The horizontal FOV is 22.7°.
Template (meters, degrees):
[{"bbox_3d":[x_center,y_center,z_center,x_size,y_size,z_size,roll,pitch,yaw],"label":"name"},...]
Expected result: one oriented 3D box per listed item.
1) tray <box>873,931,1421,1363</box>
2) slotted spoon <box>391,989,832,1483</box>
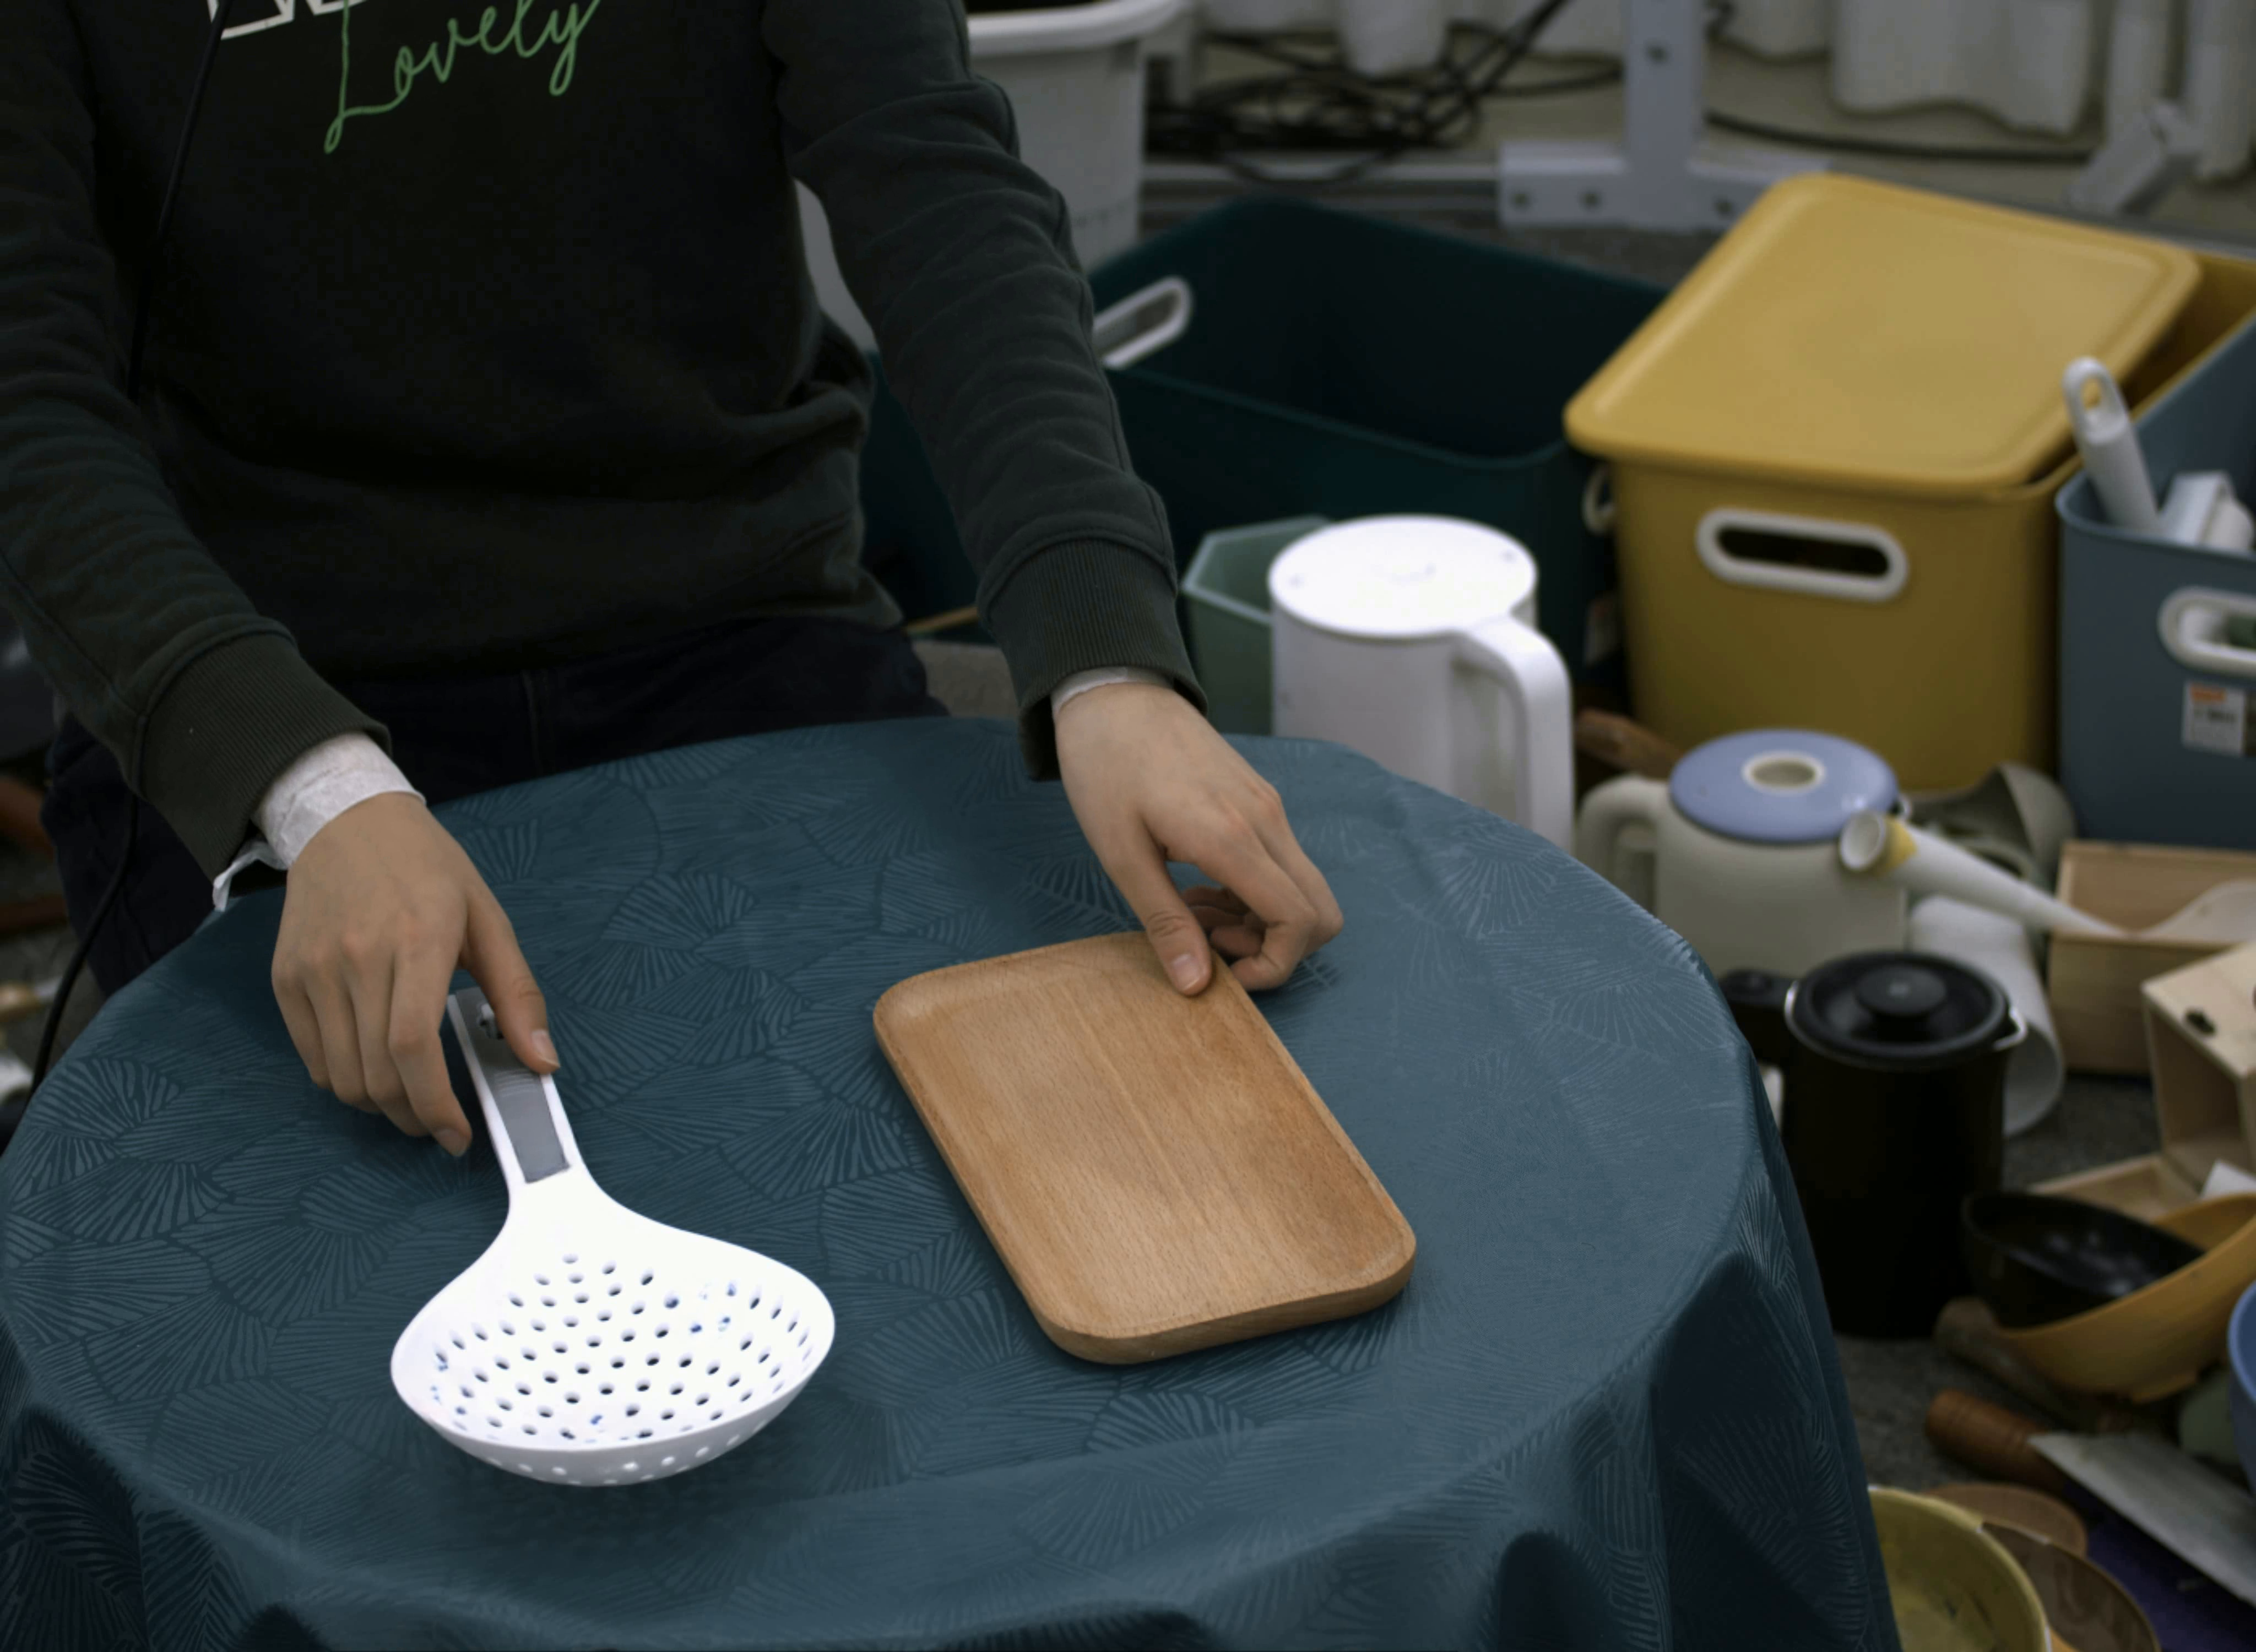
[{"bbox_3d":[0.003,0.104,1.877,0.130,0.022,0.253,-9,27,-15],"label":"tray"},{"bbox_3d":[-0.184,0.126,1.821,0.136,0.045,0.353,-7,27,-12],"label":"slotted spoon"}]
